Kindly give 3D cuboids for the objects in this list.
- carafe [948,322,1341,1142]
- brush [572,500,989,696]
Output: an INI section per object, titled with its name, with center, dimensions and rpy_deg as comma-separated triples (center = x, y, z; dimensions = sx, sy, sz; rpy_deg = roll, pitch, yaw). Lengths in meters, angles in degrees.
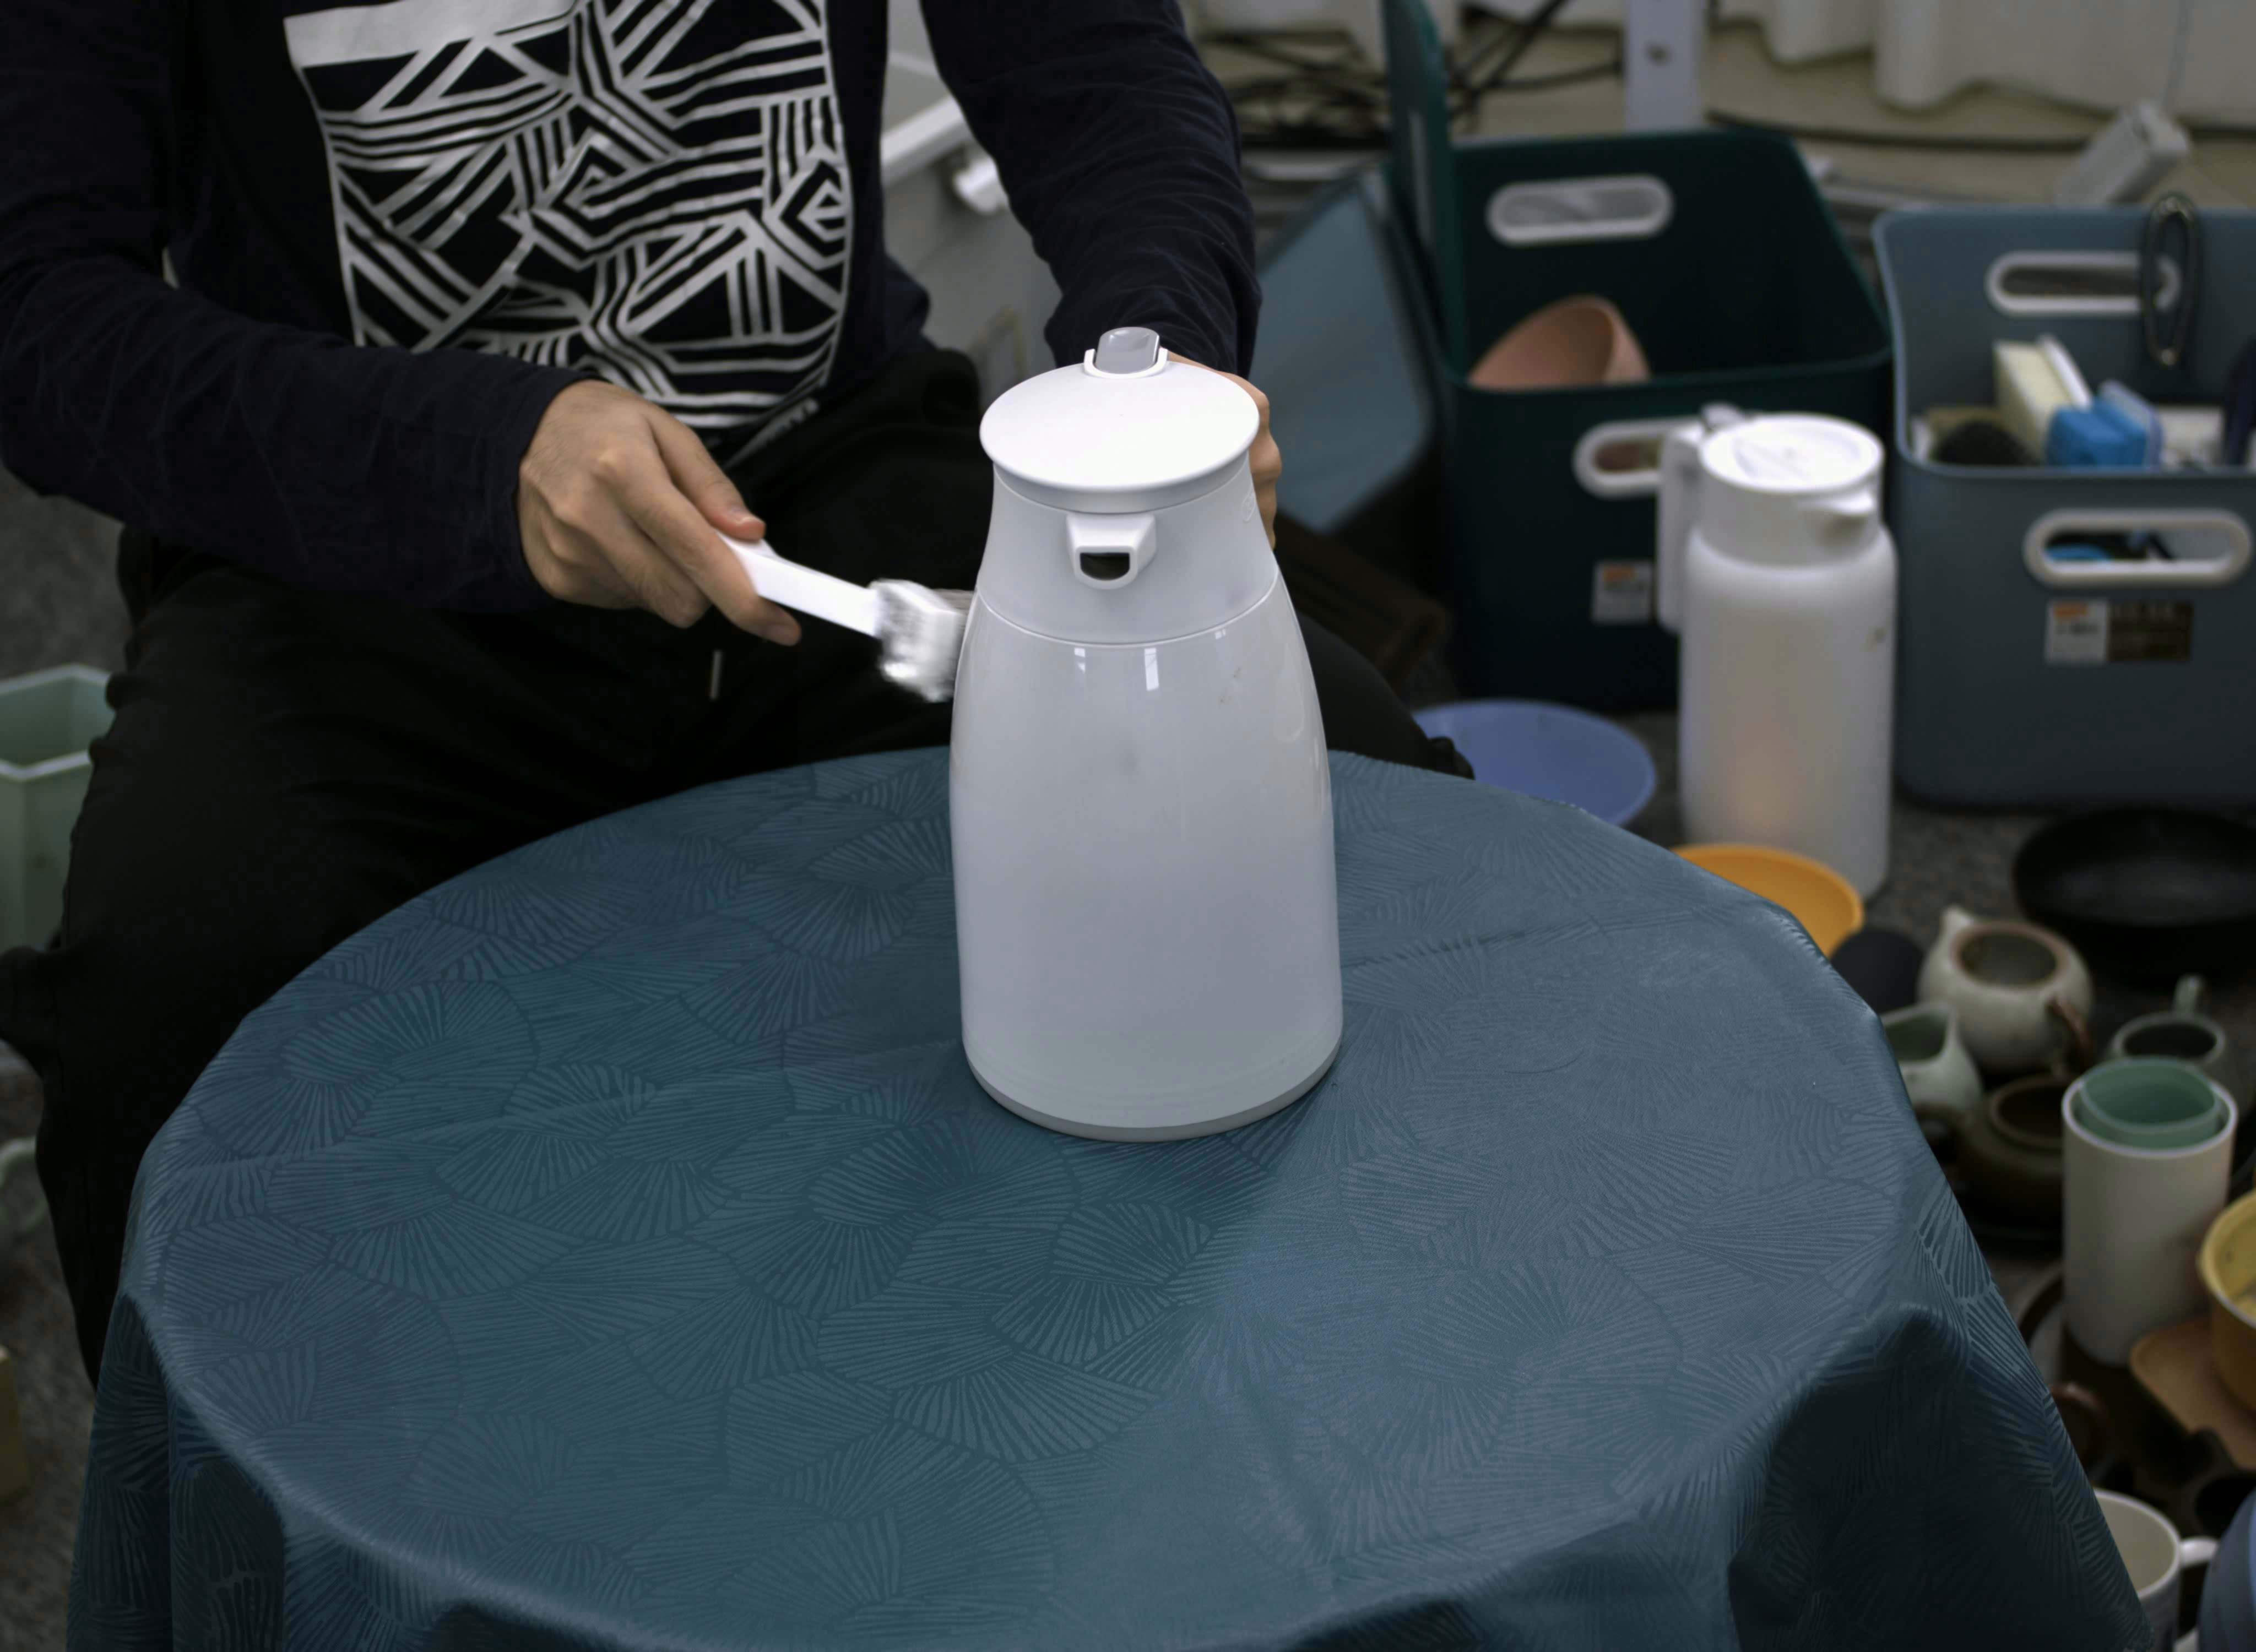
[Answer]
[carafe]
center = 0.002, -0.042, 1.900
dimensions = 0.132, 0.246, 0.170
rpy_deg = -2, 29, 3
[brush]
center = -0.120, -0.084, 2.020
dimensions = 0.050, 0.034, 0.243
rpy_deg = 2, 12, -38
